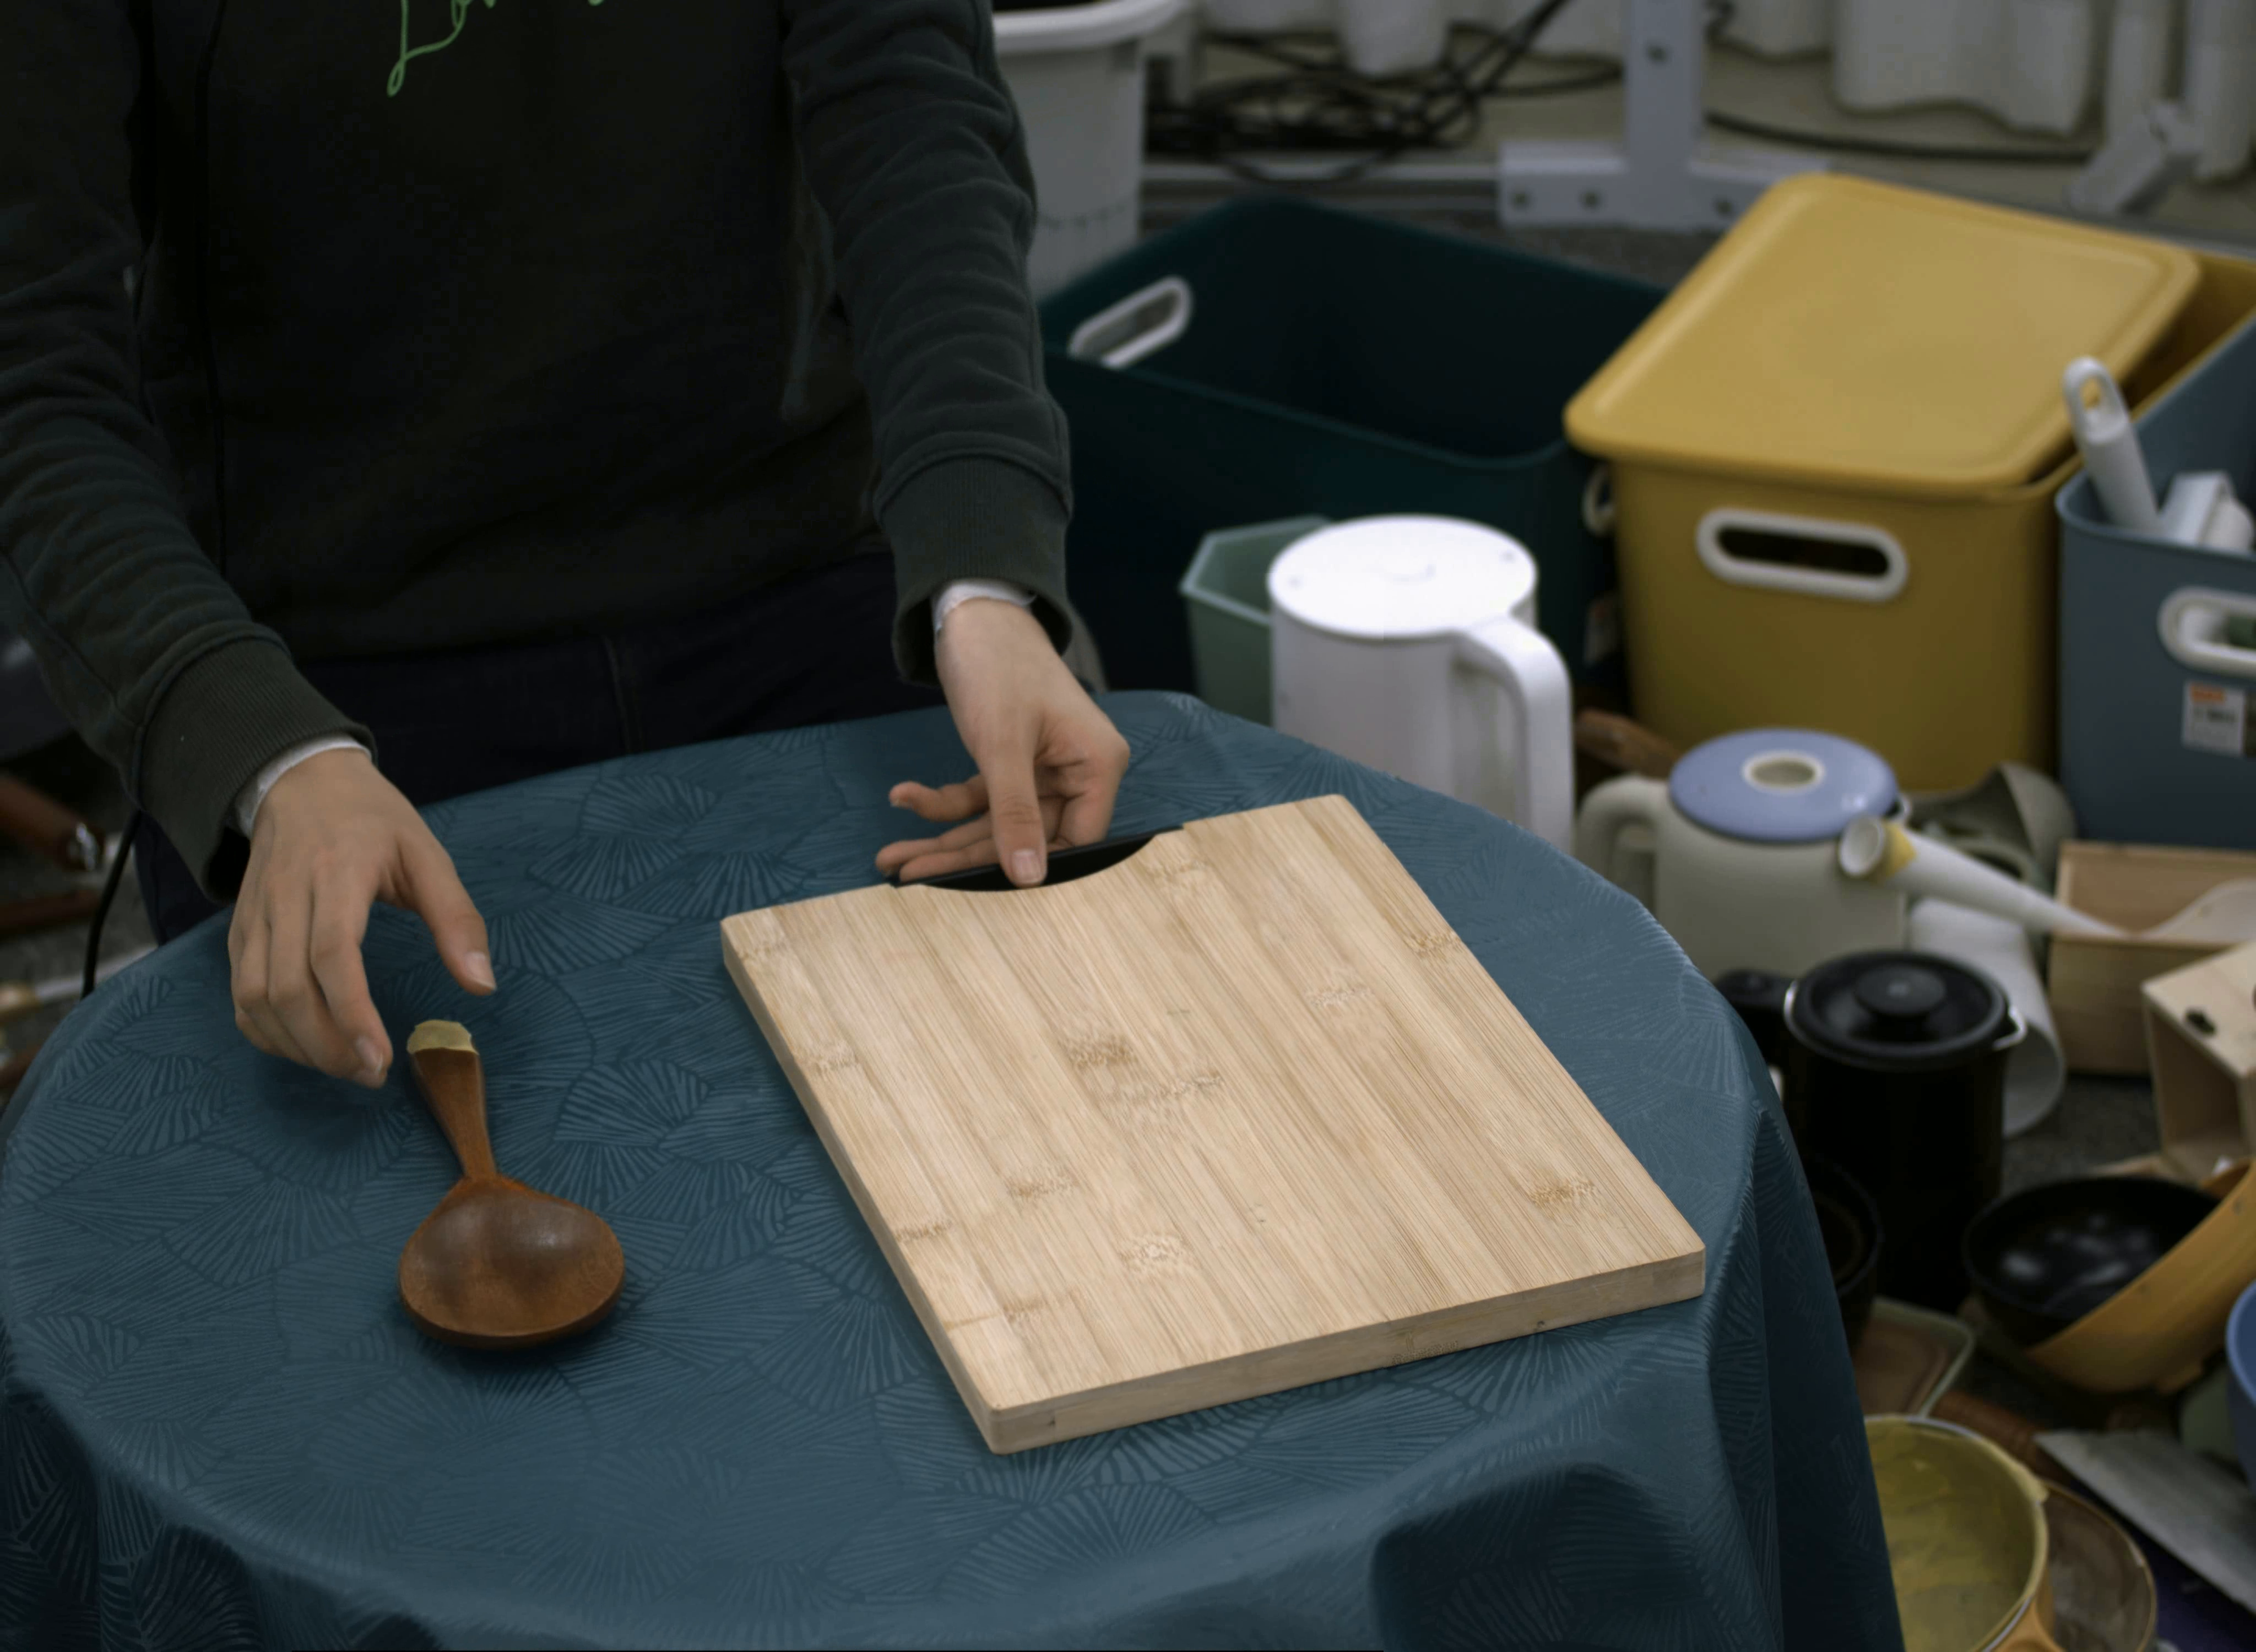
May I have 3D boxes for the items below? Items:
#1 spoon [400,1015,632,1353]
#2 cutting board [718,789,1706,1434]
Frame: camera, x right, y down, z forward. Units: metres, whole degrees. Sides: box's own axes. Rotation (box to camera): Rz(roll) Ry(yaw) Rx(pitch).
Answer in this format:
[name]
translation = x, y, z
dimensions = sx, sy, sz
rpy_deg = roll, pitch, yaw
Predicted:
[spoon]
translation = -0.213, 0.119, 1.867
dimensions = 0.075, 0.017, 0.218
rpy_deg = -11, 29, -11
[cutting board]
translation = 0.018, 0.089, 1.904
dimensions = 0.251, 0.023, 0.352
rpy_deg = -11, 28, -16
